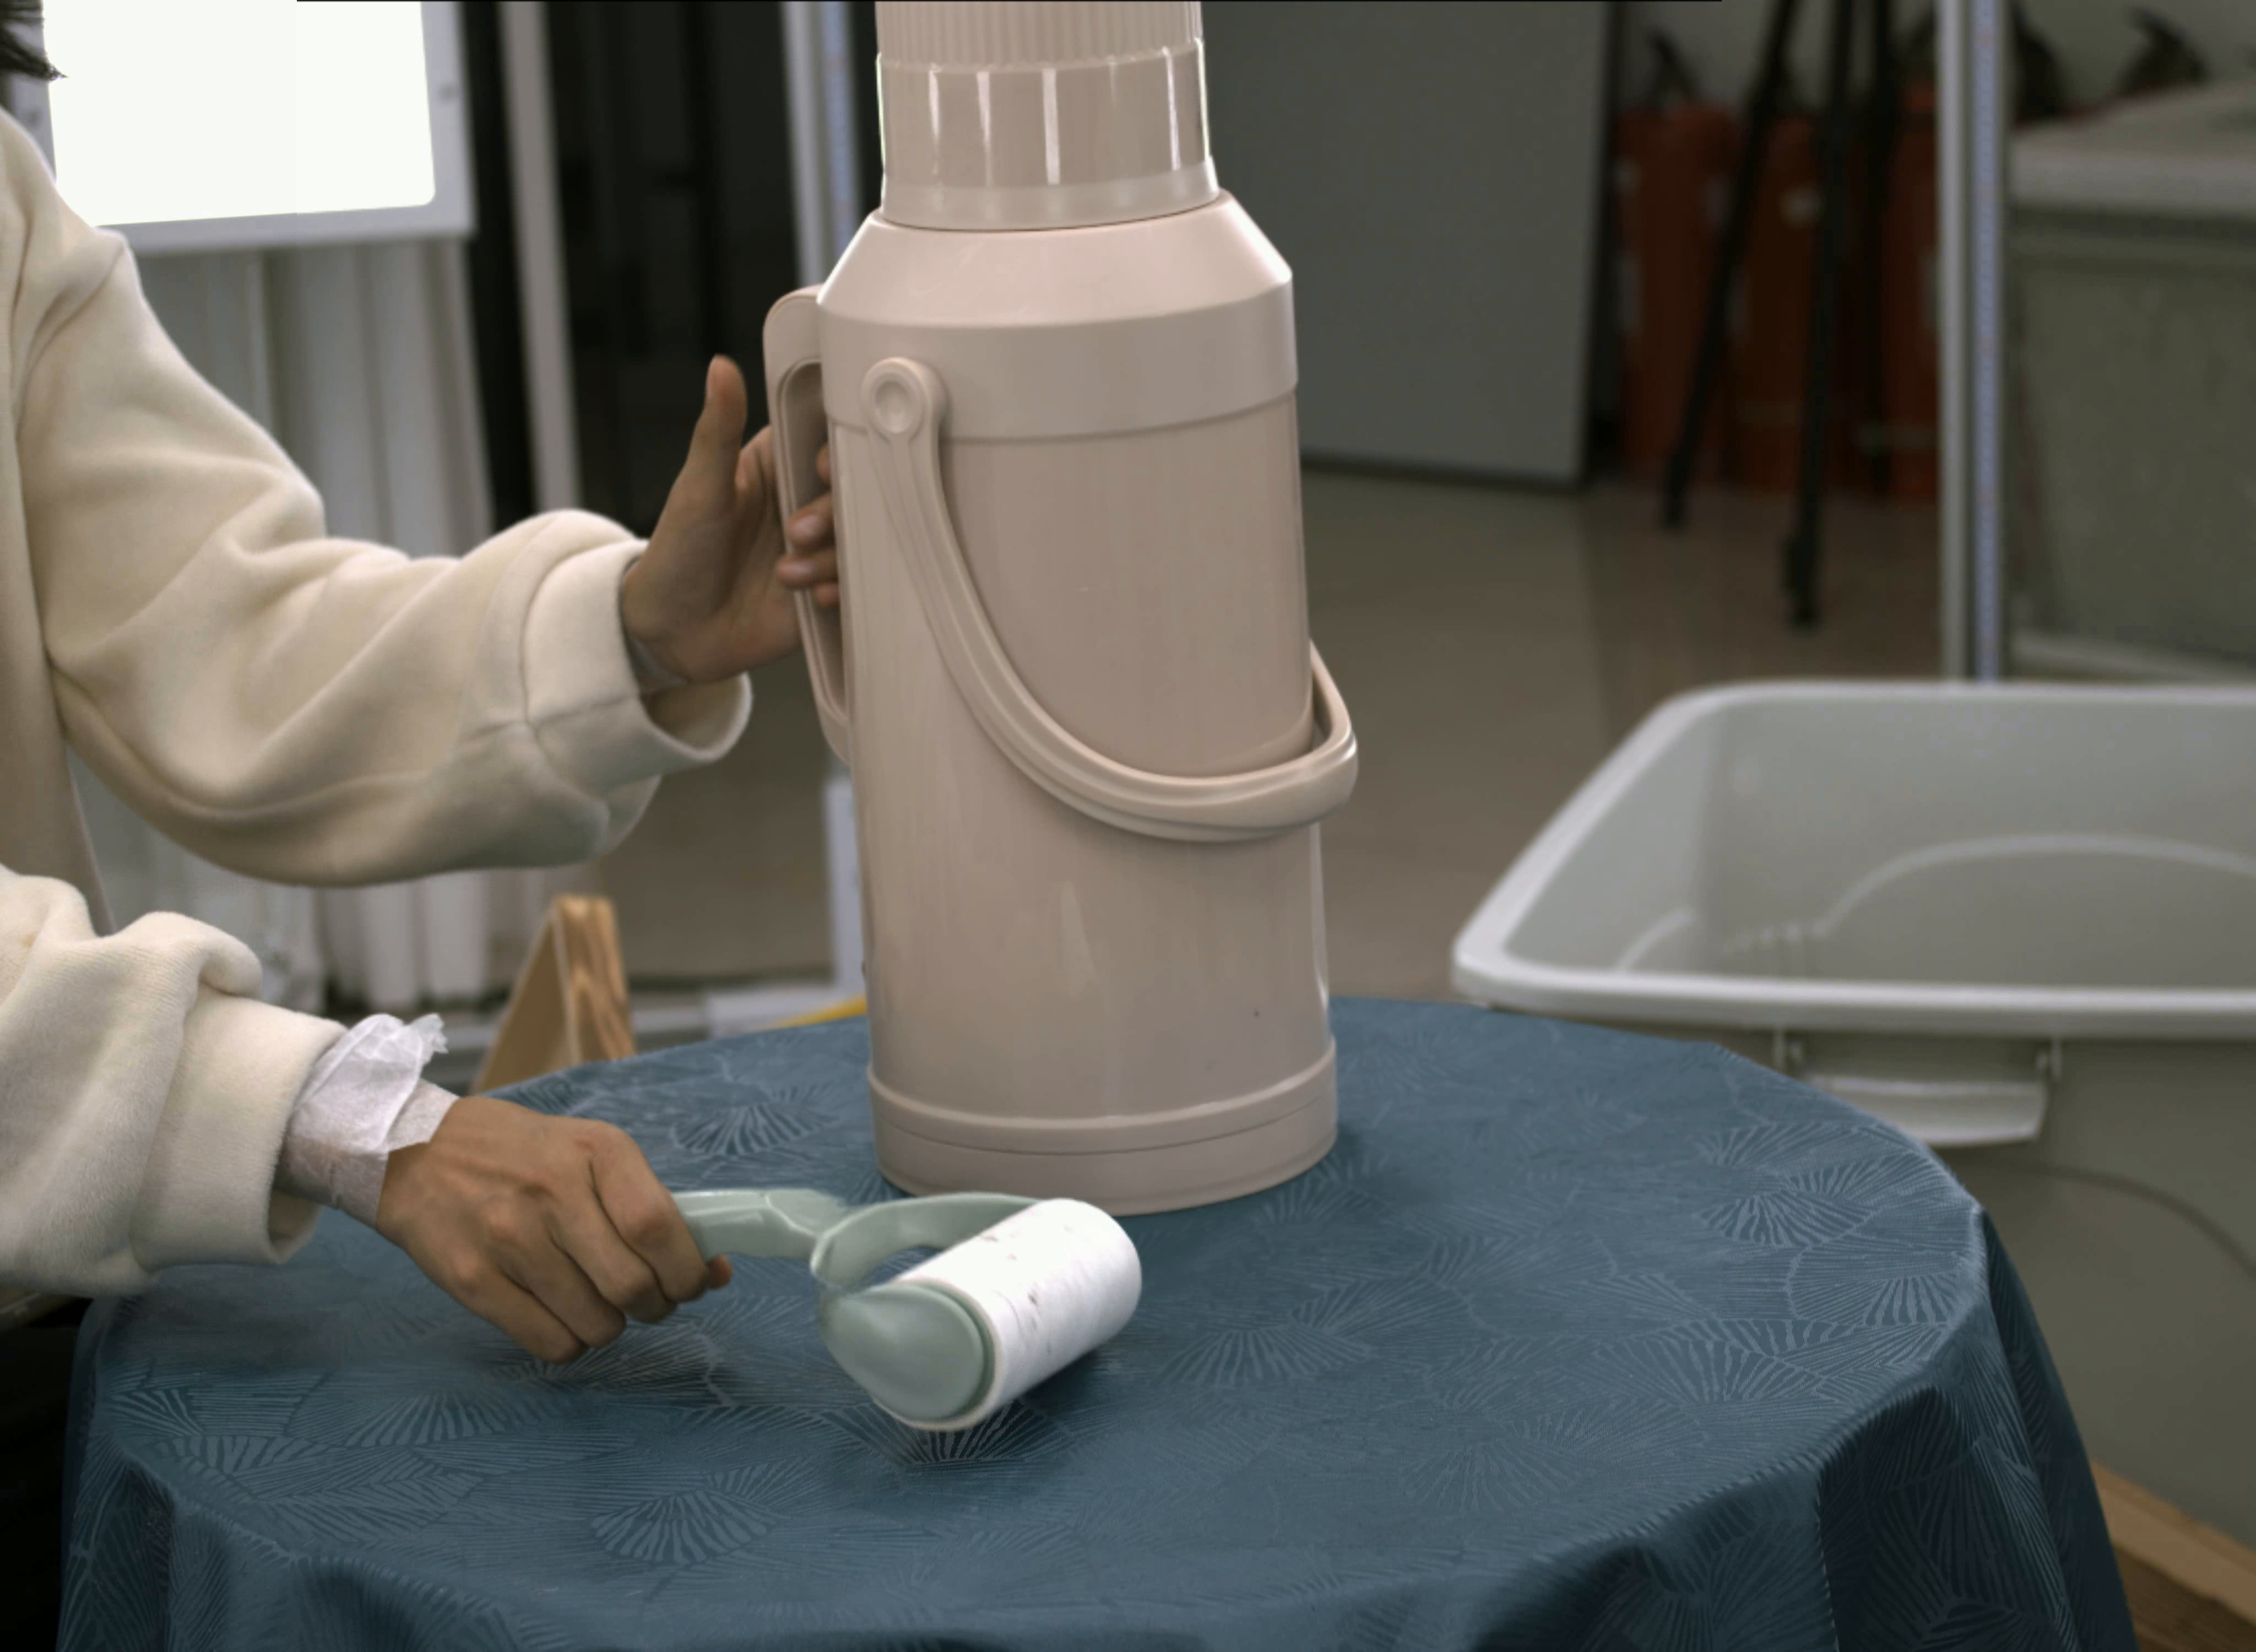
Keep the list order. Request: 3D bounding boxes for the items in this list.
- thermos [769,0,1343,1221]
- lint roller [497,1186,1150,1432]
[{"bbox_3d":[-0.029,-0.085,1.783,0.208,0.411,0.172,6,17,37],"label":"thermos"},{"bbox_3d":[-0.099,0.132,1.611,0.198,0.049,0.115,9,15,24],"label":"lint roller"}]
